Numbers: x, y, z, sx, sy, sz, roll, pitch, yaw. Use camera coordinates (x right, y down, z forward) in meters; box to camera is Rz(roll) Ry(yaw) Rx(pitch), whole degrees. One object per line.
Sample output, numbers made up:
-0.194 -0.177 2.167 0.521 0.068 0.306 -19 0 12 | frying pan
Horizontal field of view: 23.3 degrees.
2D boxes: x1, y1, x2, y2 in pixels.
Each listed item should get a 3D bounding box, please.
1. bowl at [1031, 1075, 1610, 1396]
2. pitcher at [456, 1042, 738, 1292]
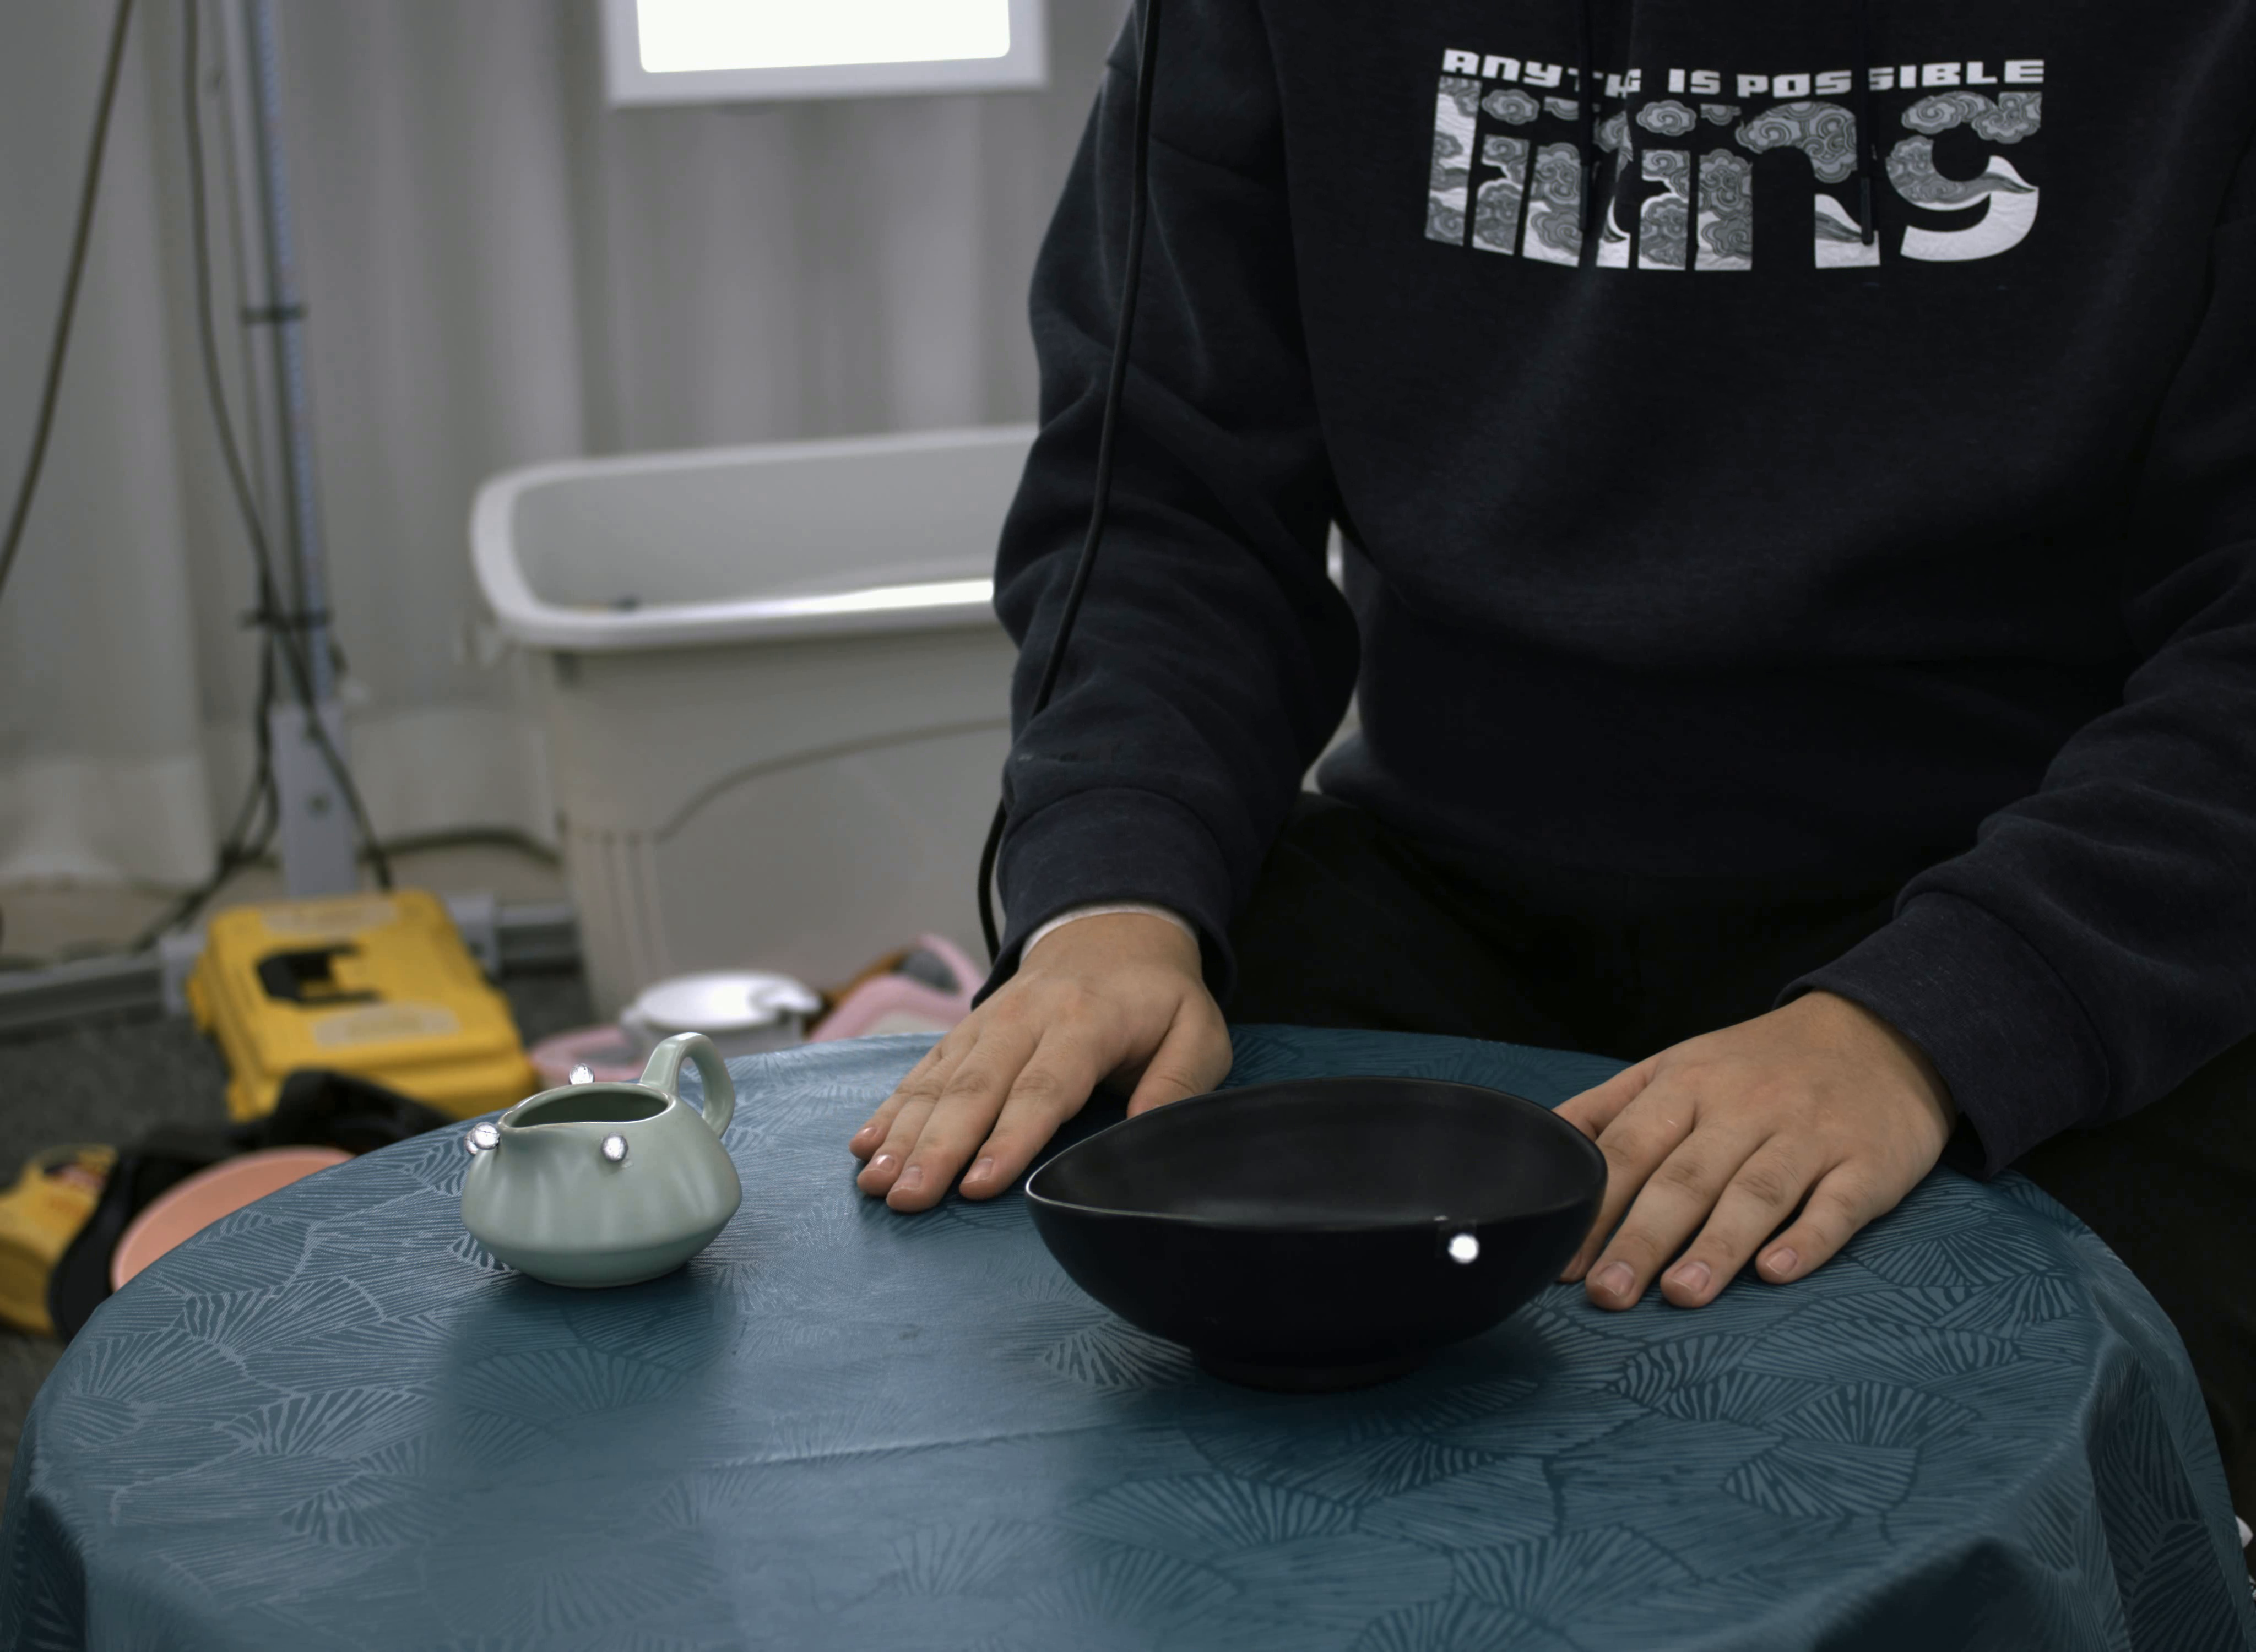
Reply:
0.054 0.122 1.560 0.170 0.066 0.138 1 14 17 | bowl
-0.156 0.105 1.676 0.086 0.060 0.108 7 15 29 | pitcher
